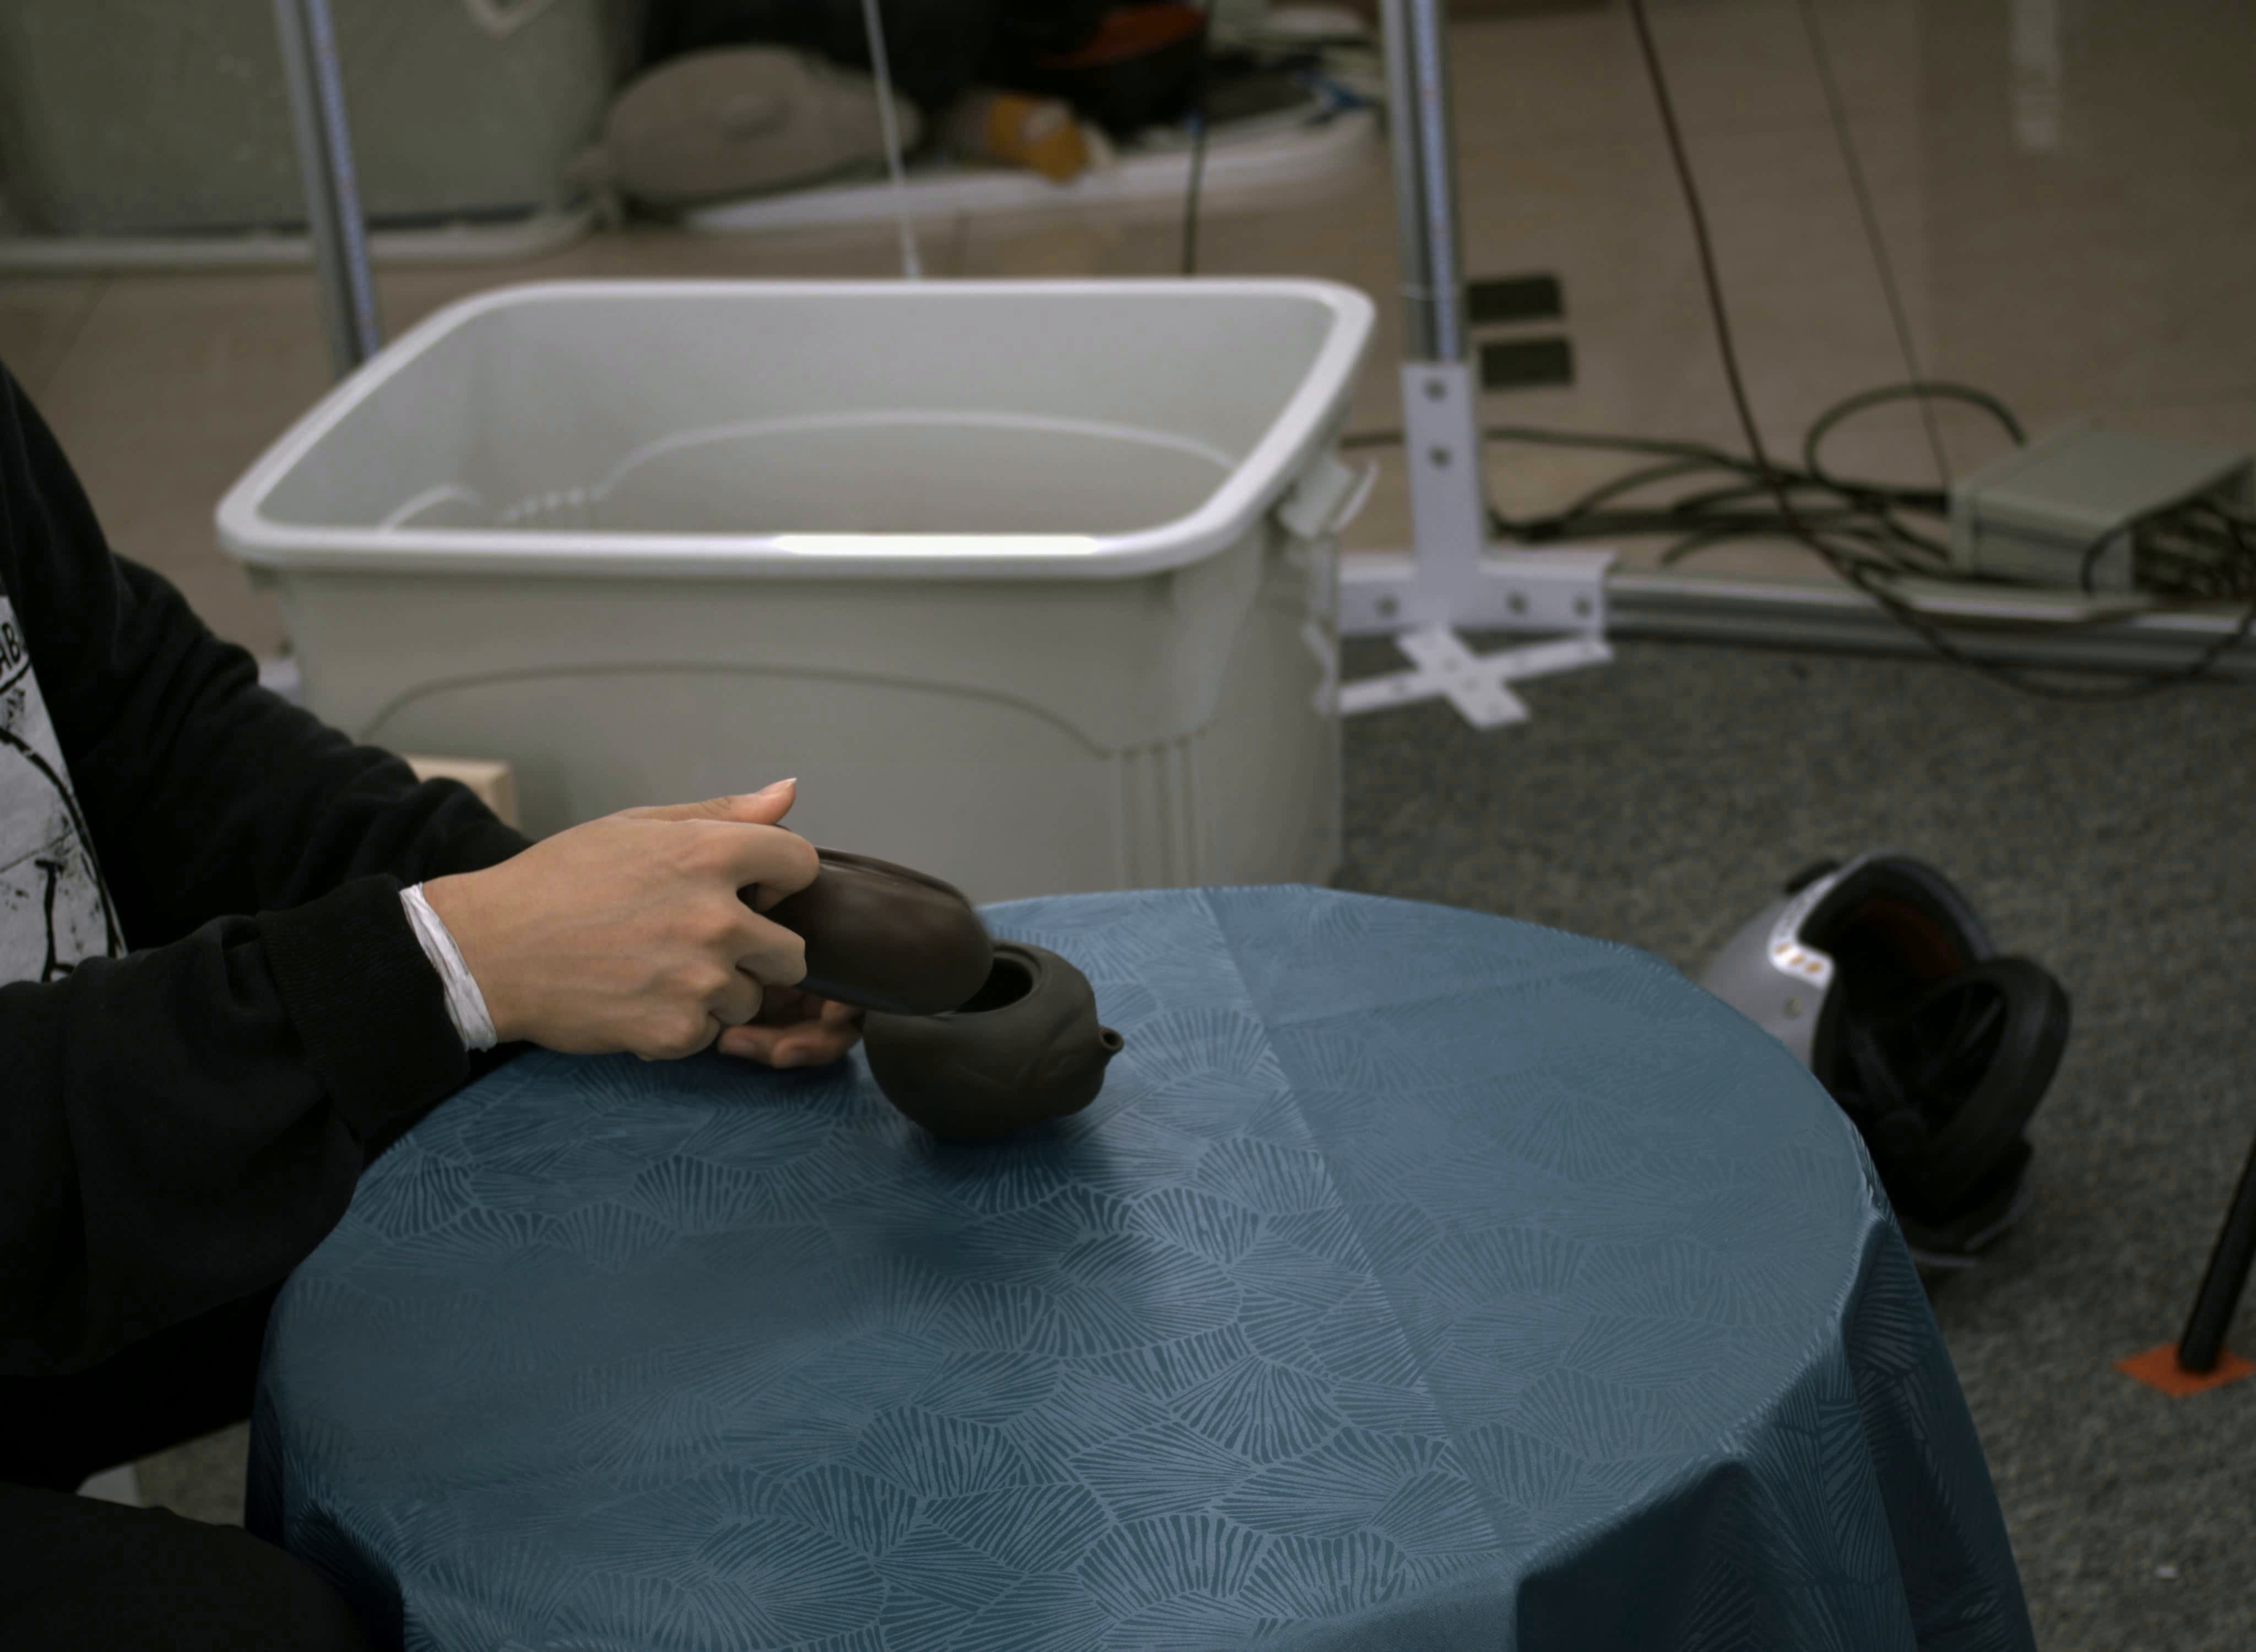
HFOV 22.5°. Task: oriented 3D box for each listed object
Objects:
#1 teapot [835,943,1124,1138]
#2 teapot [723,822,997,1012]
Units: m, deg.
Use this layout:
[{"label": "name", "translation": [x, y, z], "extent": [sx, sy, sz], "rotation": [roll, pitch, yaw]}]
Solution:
[{"label": "teapot", "translation": [-0.059, 0.082, 2.208], "extent": [0.153, 0.065, 0.091], "rotation": [19, 36, 38]}, {"label": "teapot", "translation": [-0.101, 0.035, 2.090], "extent": [0.102, 0.053, 0.155], "rotation": [8, -11, 27]}]
